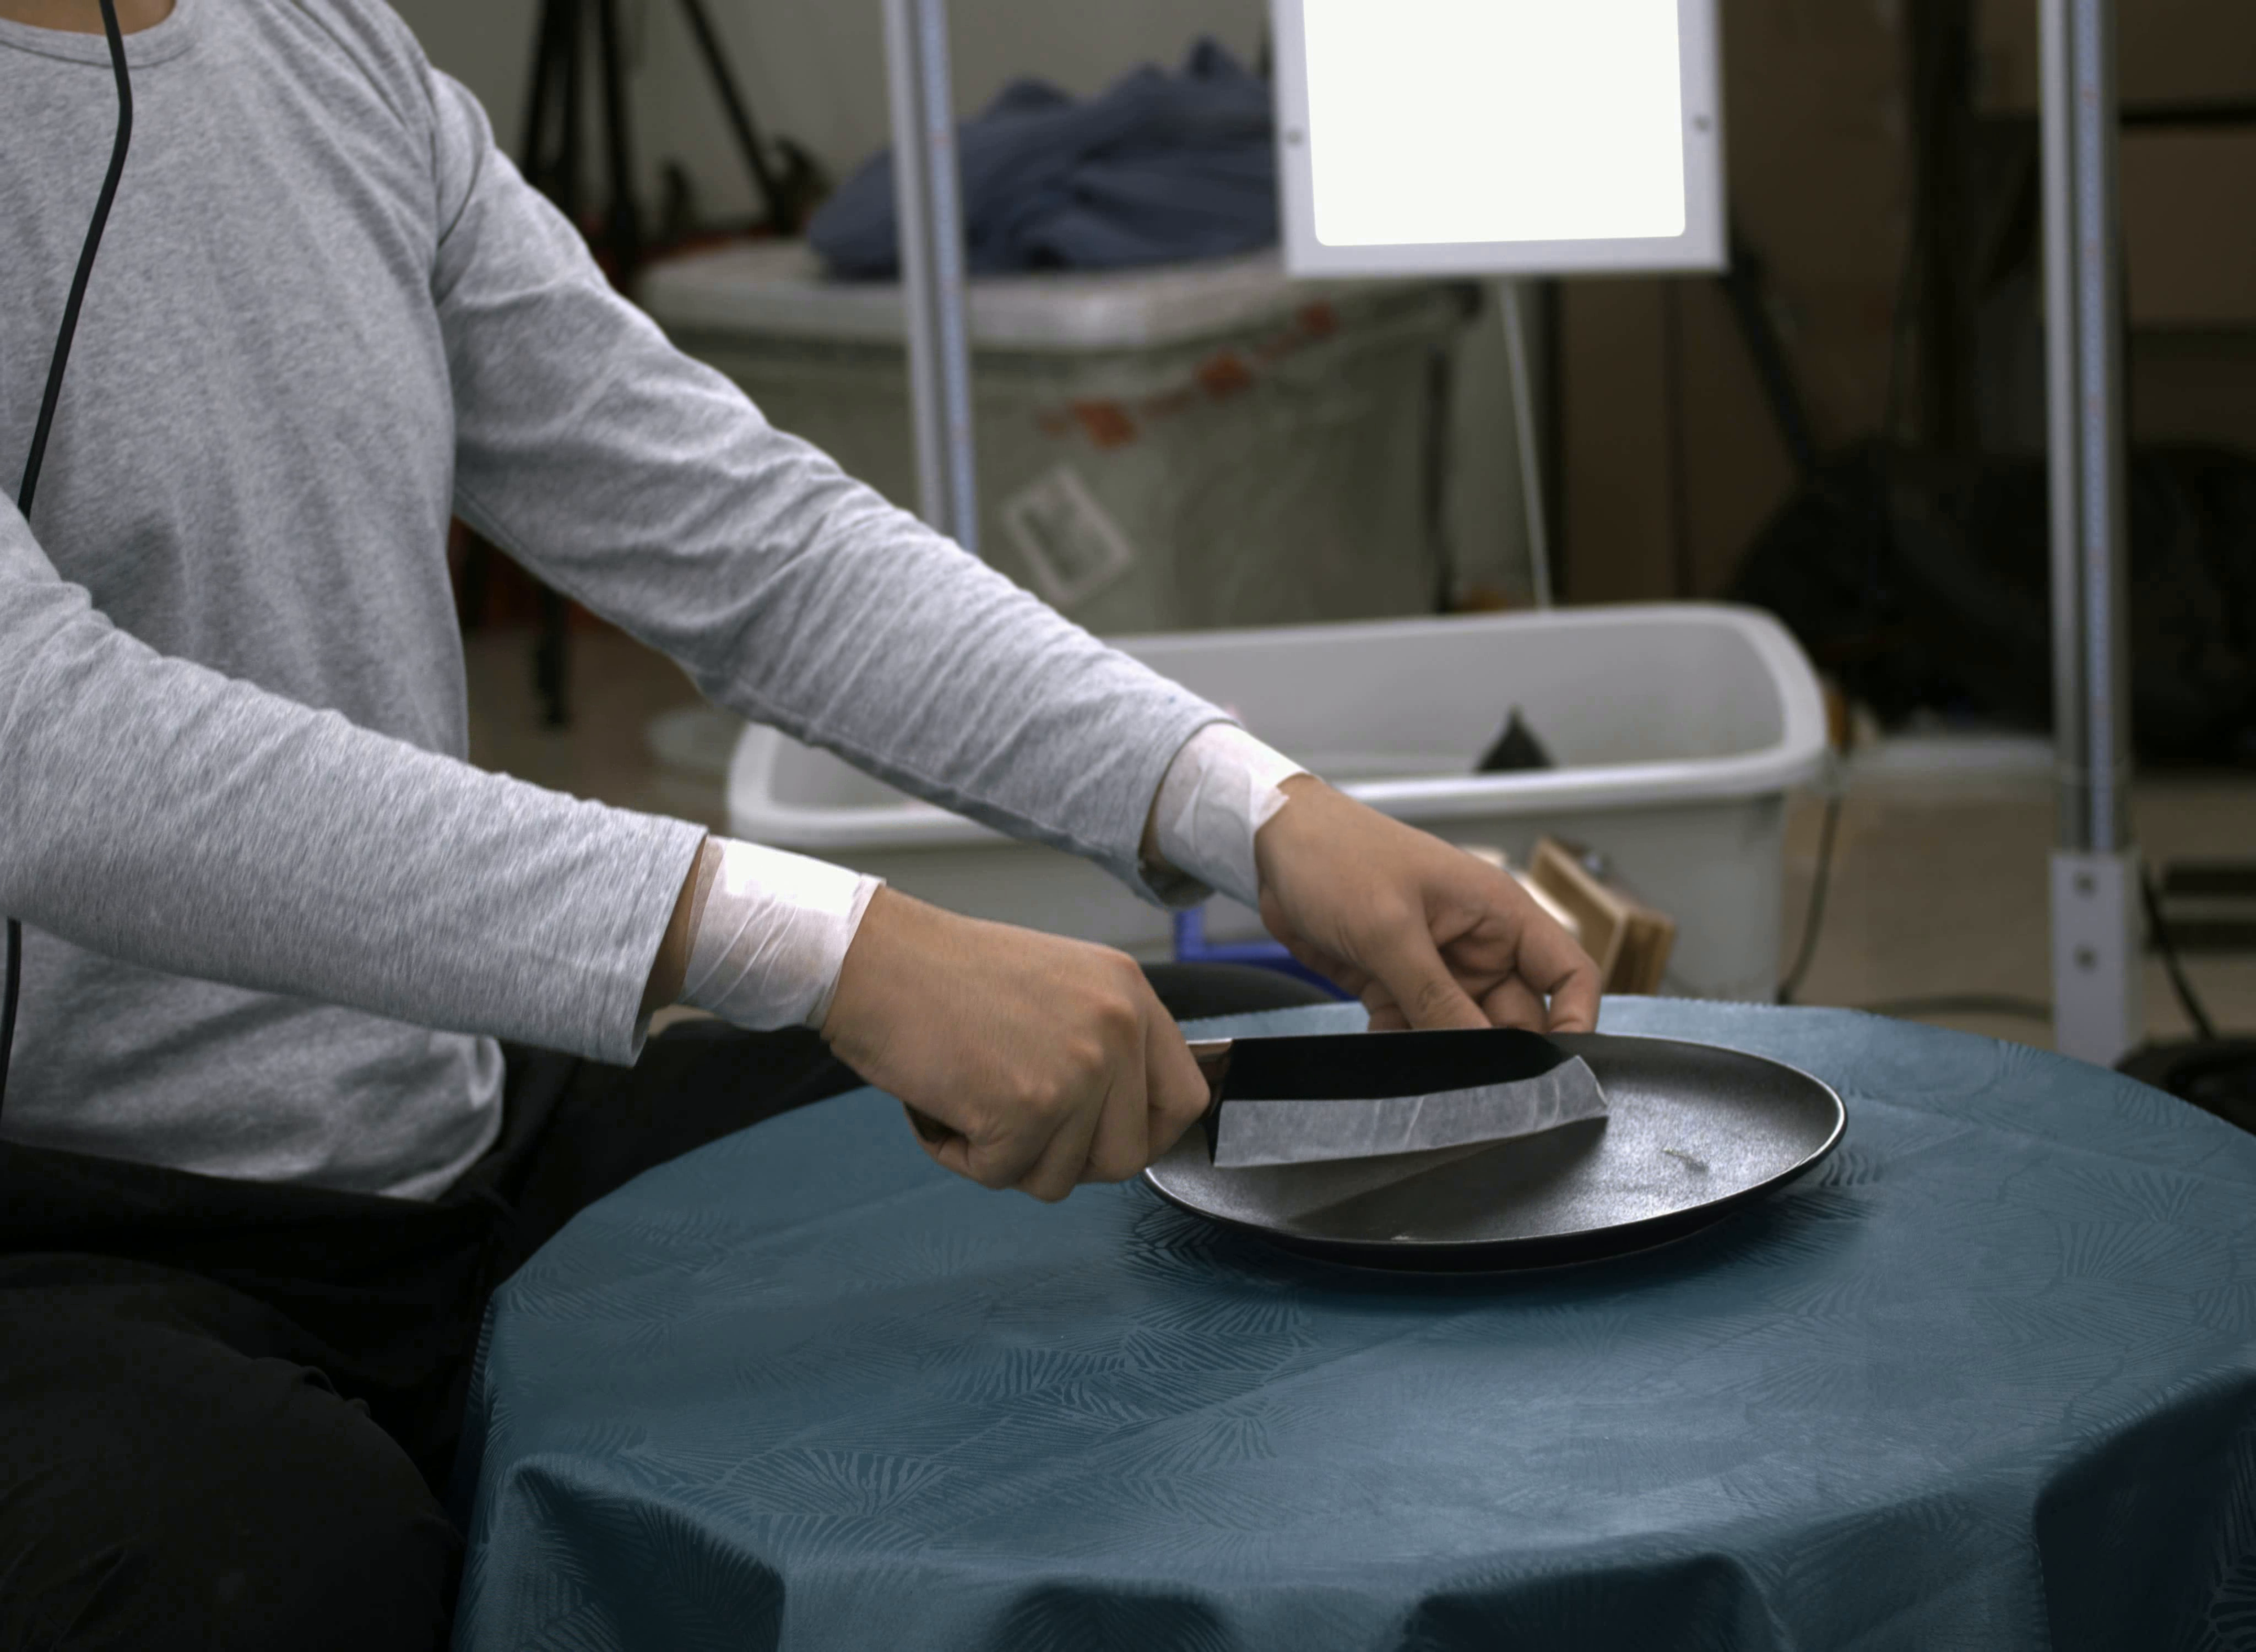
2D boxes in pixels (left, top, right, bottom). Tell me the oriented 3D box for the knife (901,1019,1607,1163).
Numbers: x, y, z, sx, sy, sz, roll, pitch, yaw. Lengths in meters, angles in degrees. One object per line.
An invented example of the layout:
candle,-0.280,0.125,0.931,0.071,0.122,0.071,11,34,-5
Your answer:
knife,0.049,0.088,1.838,0.282,0.050,0.020,2,11,-32

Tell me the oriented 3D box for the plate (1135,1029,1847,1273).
plate,0.123,0.113,1.867,0.244,0.023,0.244,-5,14,0
